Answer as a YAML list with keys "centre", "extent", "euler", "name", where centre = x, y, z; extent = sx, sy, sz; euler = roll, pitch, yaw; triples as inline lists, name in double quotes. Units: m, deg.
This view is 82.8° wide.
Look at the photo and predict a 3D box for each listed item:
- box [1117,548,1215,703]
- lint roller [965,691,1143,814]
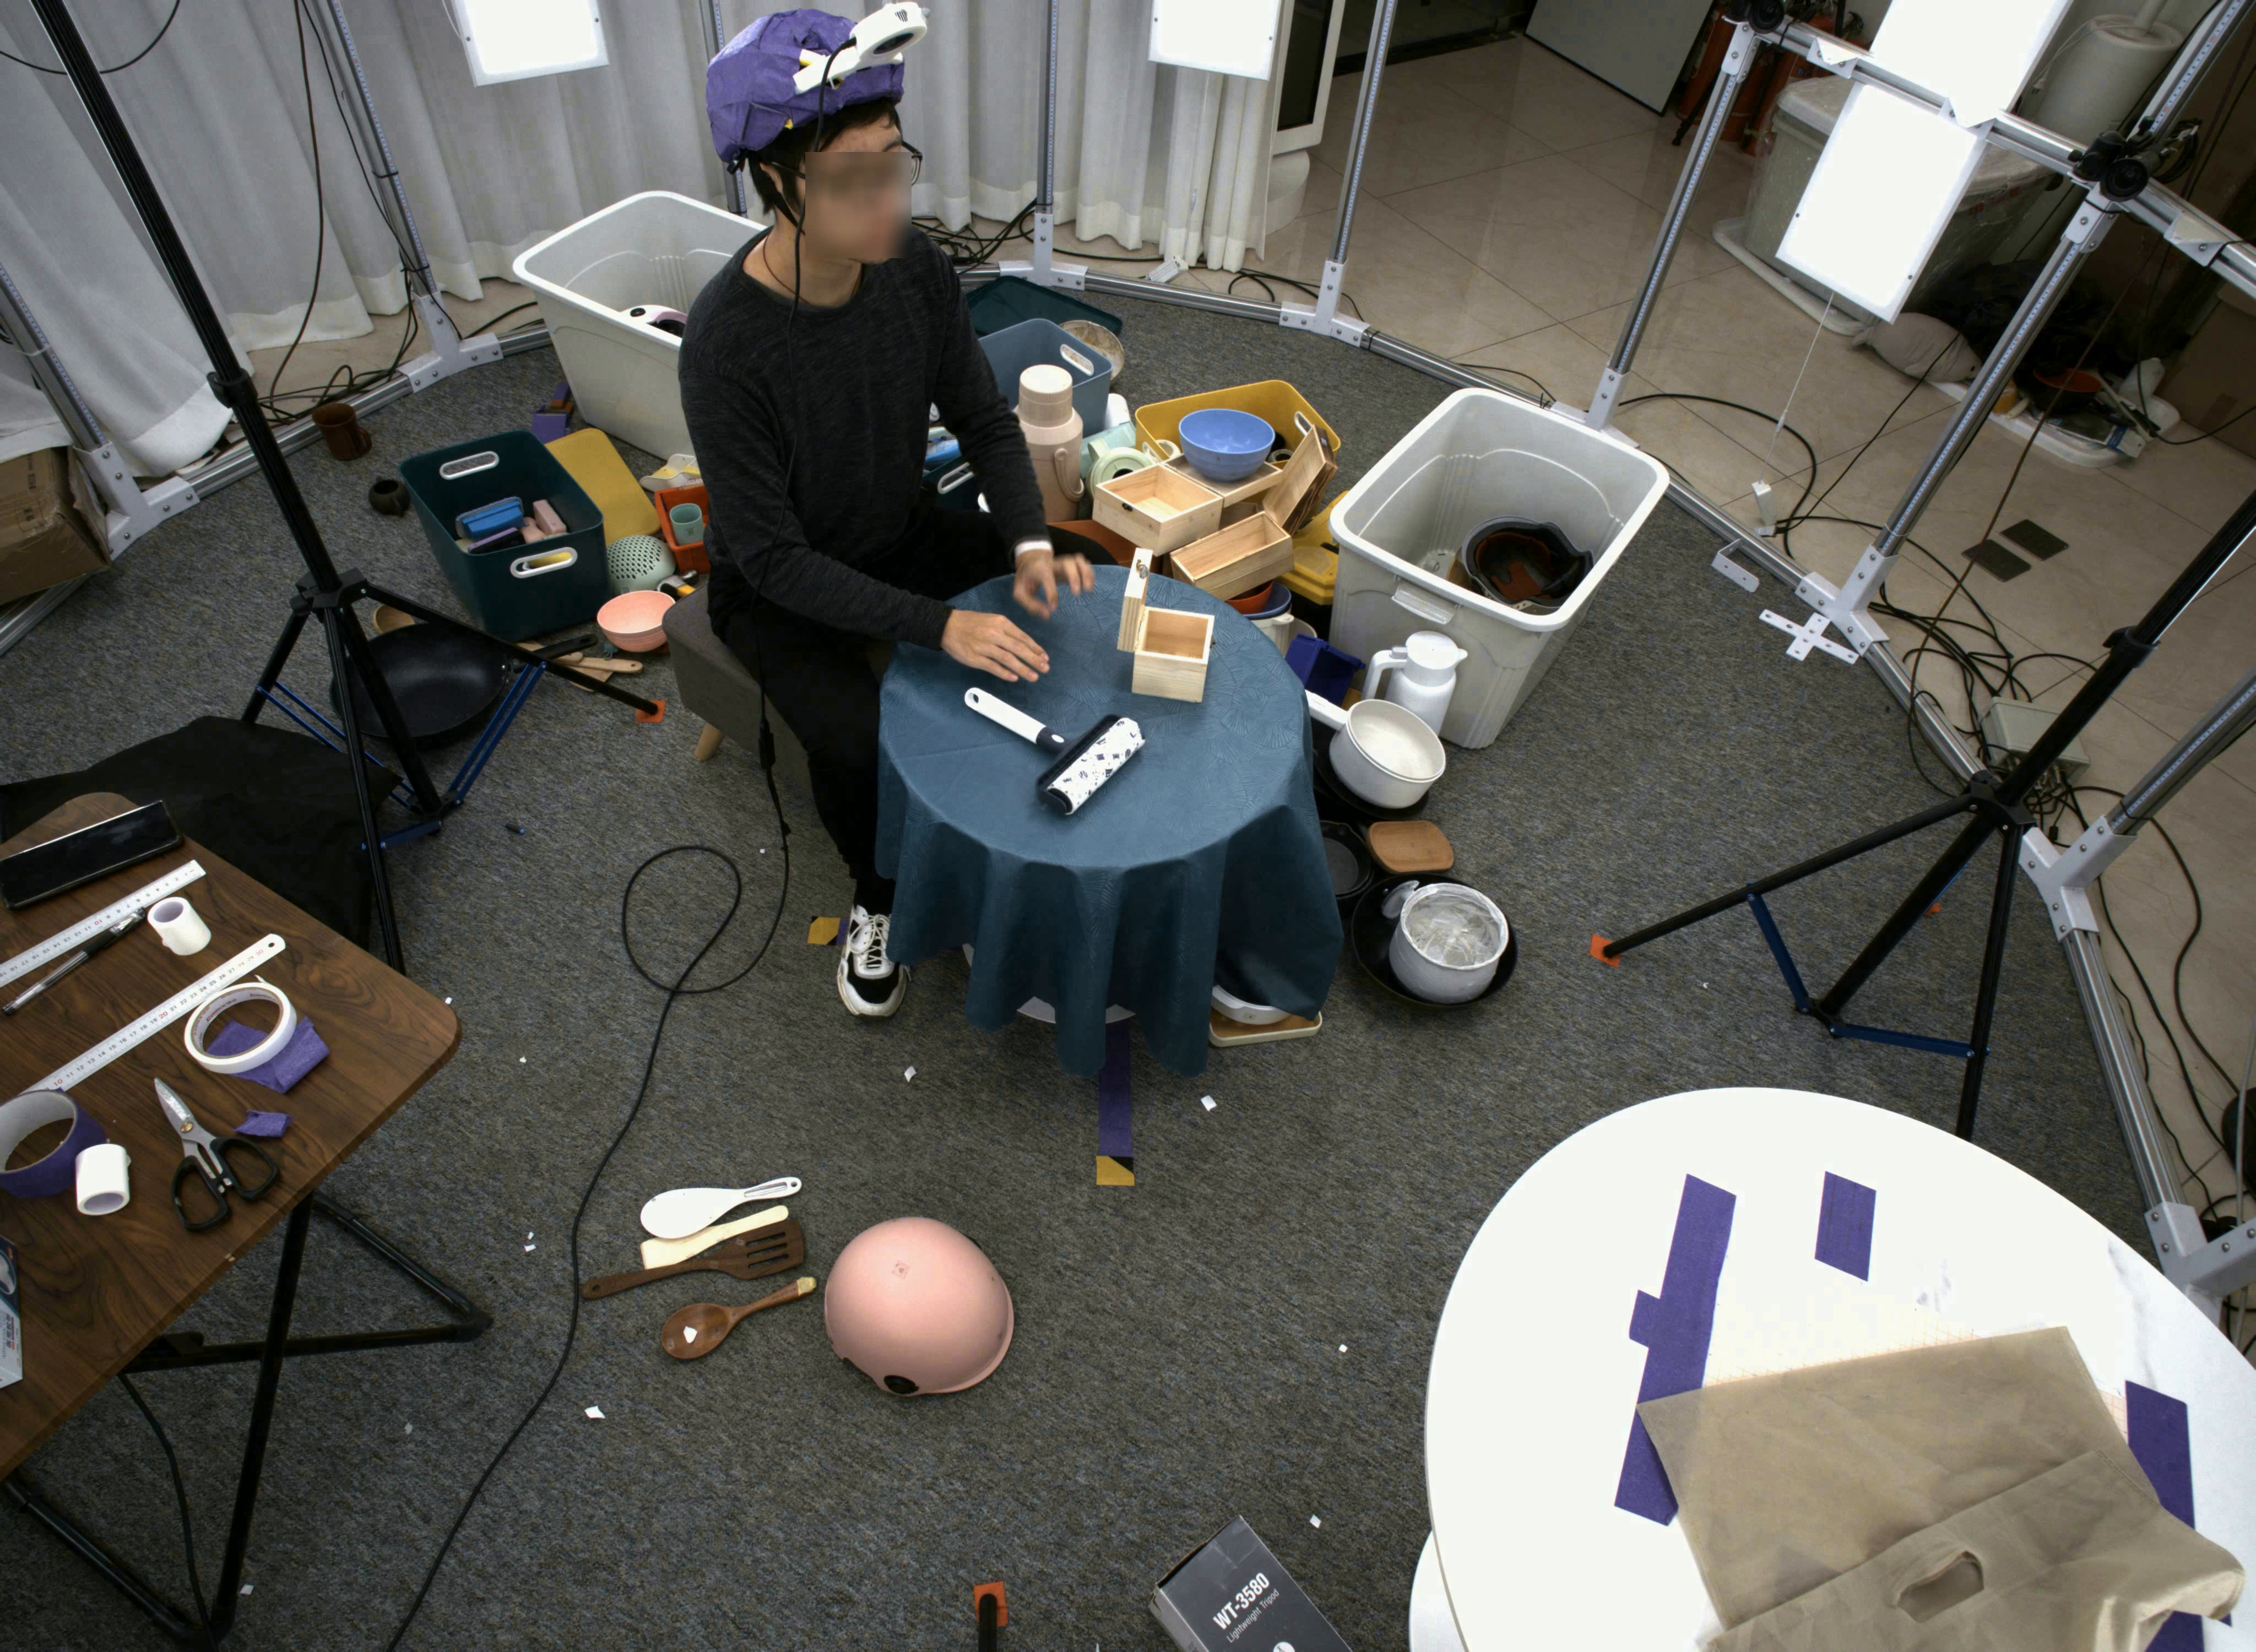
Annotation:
- centre: [0.058, -0.280, 1.800]
  extent: [0.134, 0.180, 0.105]
  euler: [8, 48, 4]
  name: "box"
- centre: [-0.125, -0.128, 1.745]
  extent: [0.250, 0.049, 0.178]
  euler: [30, 54, 21]
  name: "lint roller"
